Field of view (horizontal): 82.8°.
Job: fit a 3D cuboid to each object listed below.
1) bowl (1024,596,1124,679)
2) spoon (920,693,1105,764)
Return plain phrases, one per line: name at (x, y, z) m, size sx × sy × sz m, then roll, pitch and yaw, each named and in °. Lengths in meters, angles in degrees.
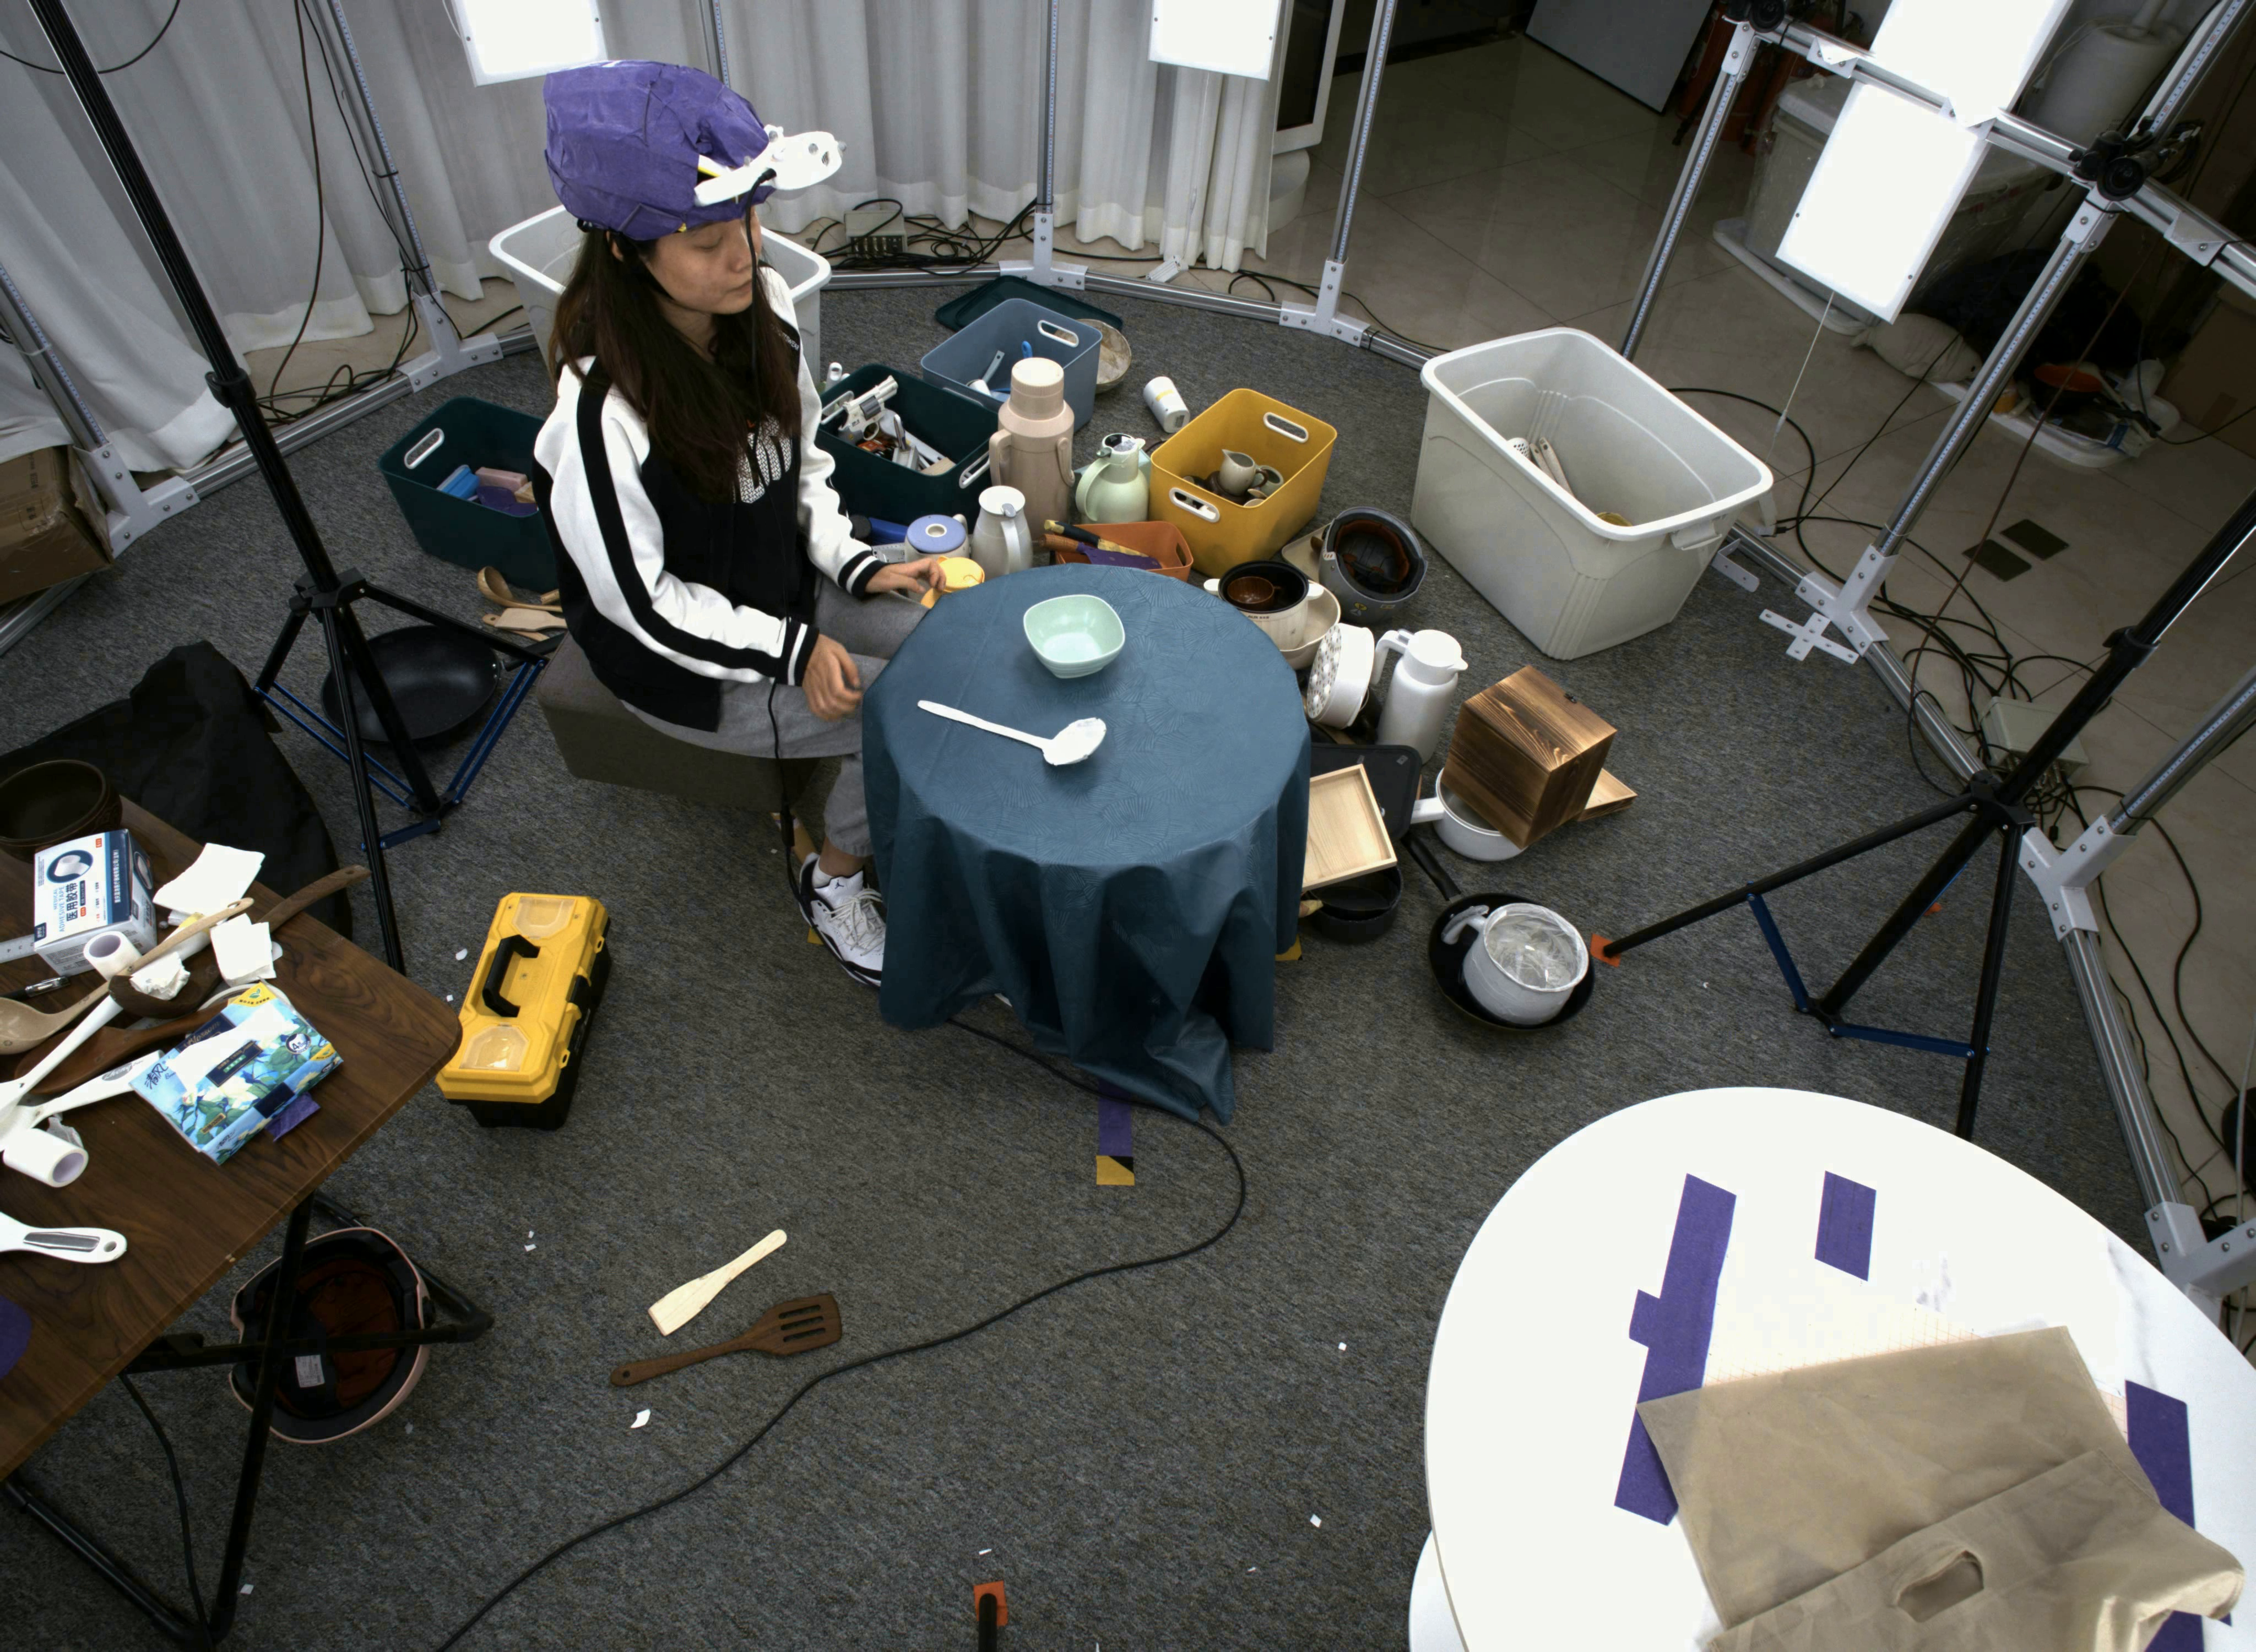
bowl at (-0.079, -0.264, 1.859) m, size 0.151 × 0.057 × 0.155 m, roll 2°, pitch 49°, yaw -3°
spoon at (-0.161, -0.152, 1.754) m, size 0.279 × 0.058 × 0.102 m, roll 22°, pitch 47°, yaw 14°
